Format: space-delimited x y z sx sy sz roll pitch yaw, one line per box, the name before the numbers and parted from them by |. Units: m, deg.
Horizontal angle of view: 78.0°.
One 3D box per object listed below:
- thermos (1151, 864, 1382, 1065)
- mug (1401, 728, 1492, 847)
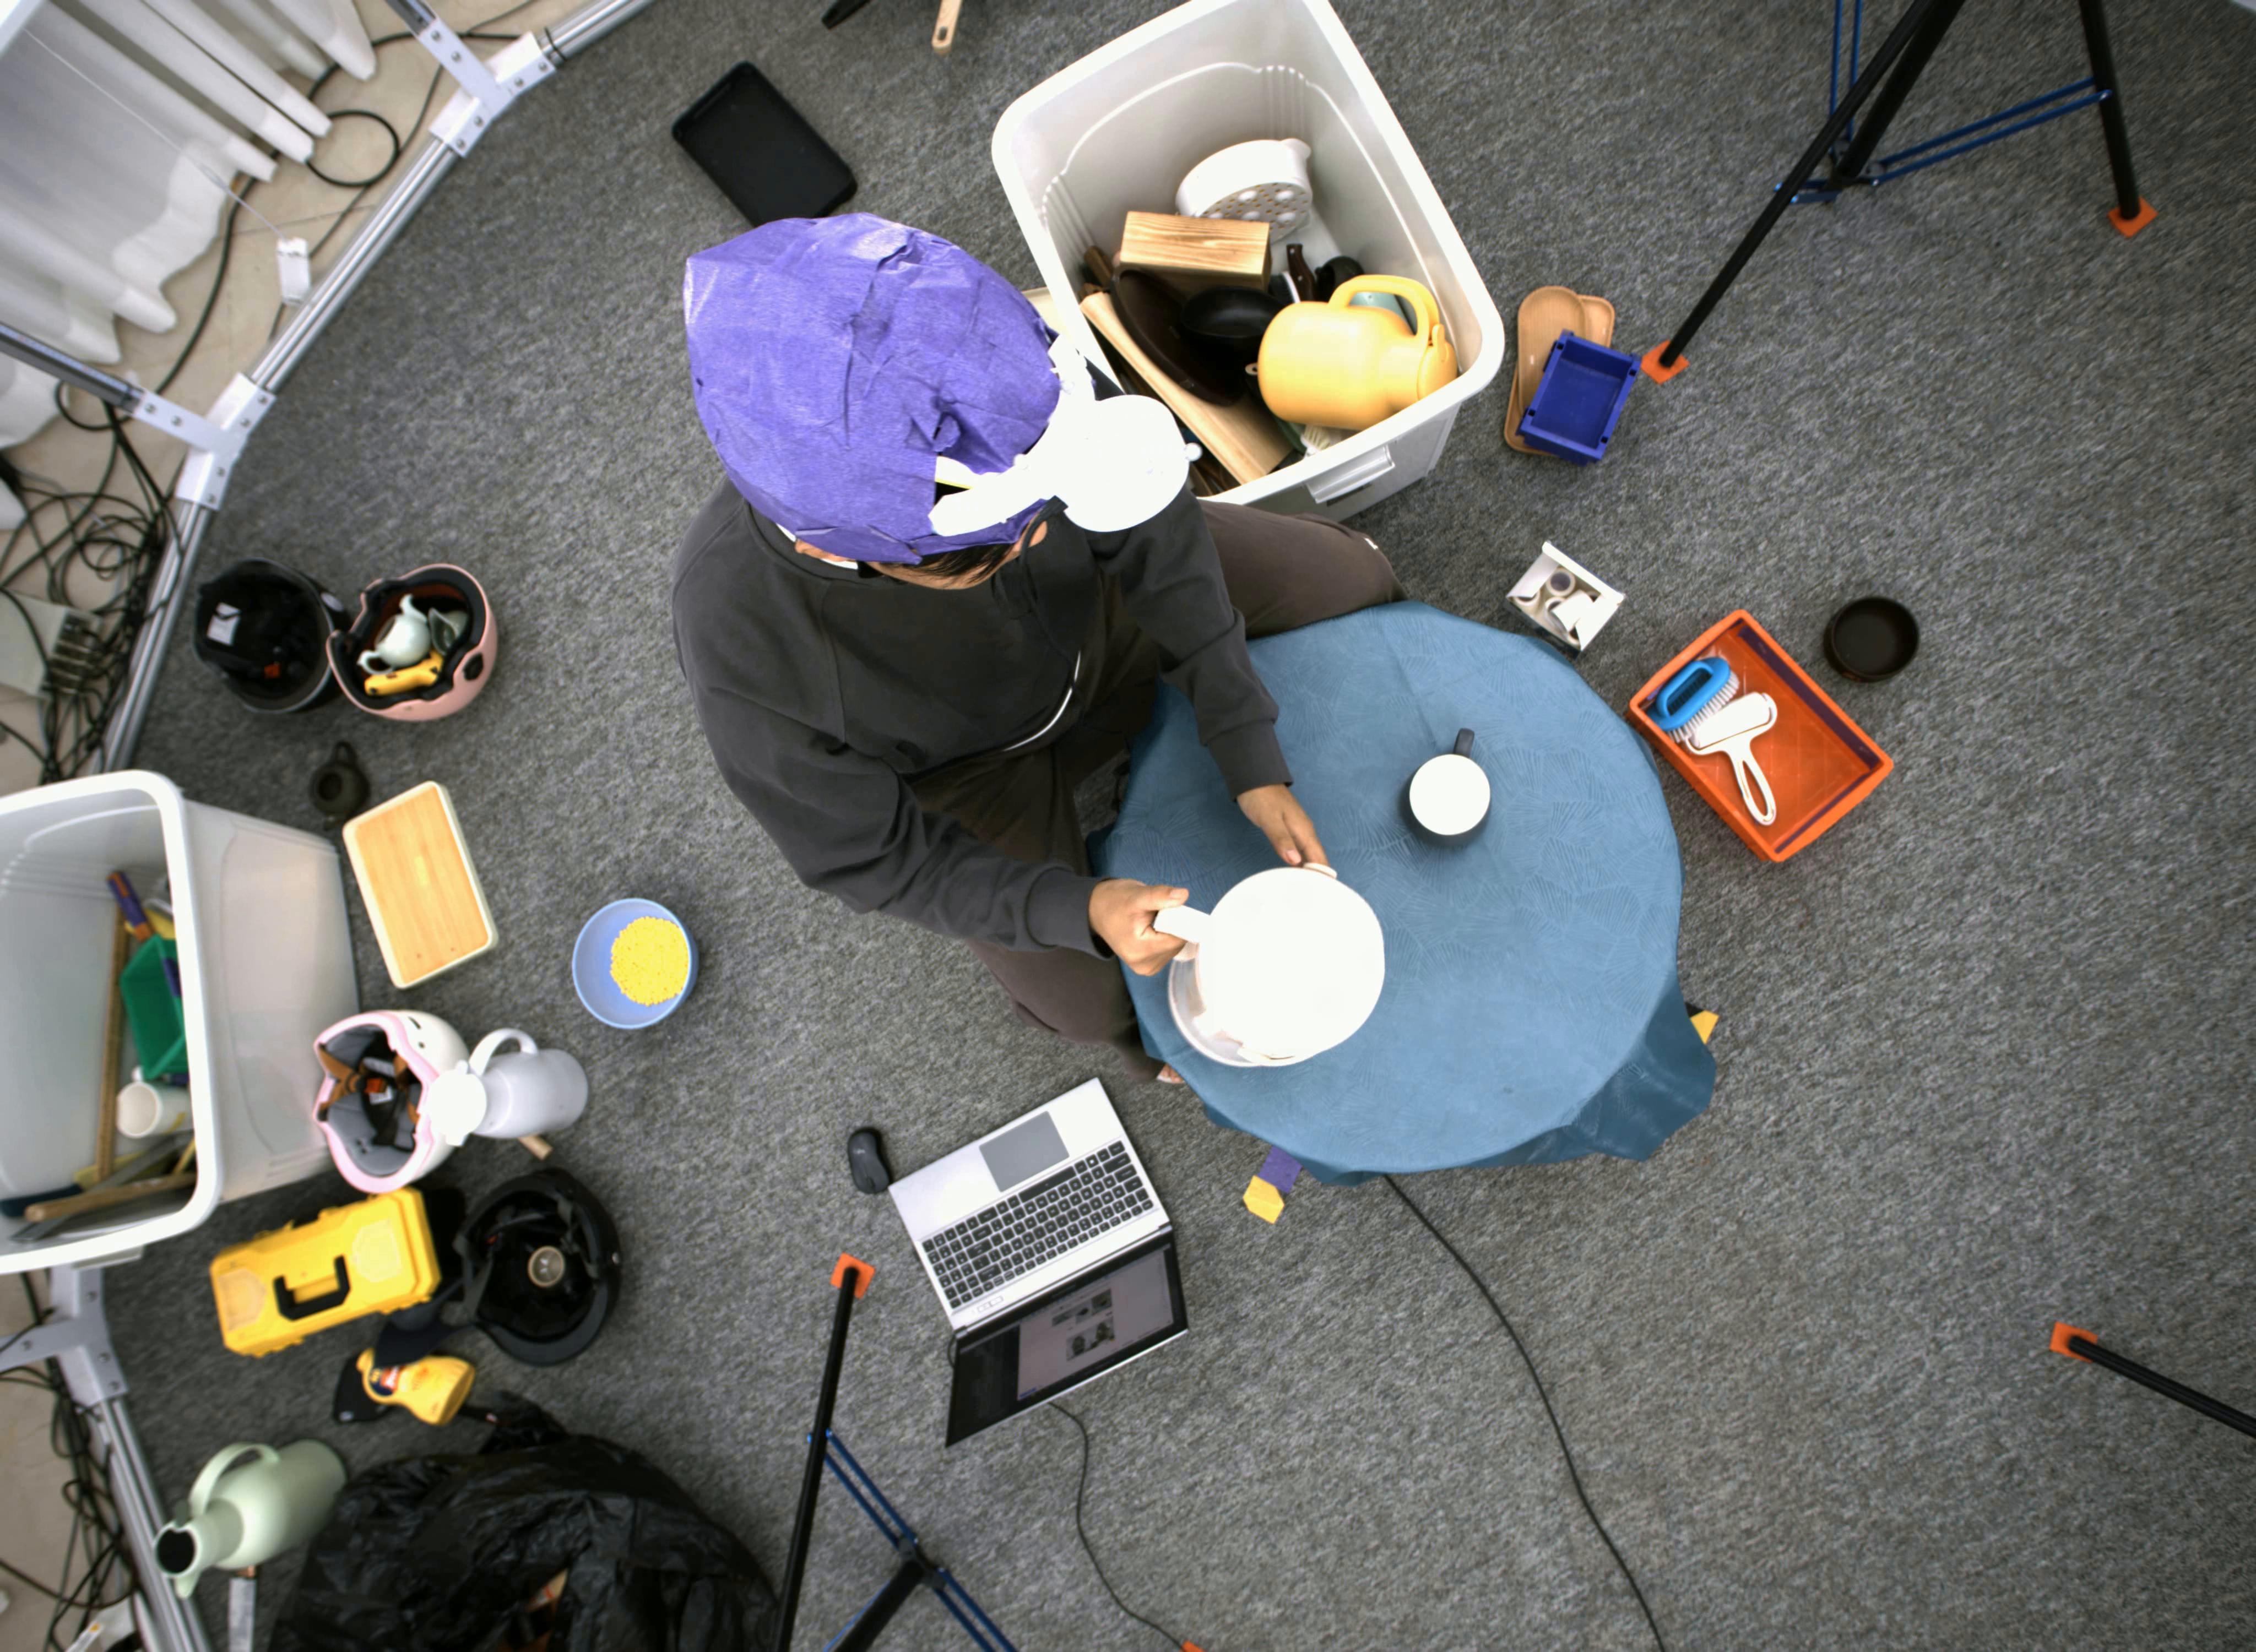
thermos | 0.118 0.124 1.250 0.207 0.409 0.174 20 80 1
mug | 0.332 -0.043 1.410 0.093 0.090 0.123 19 90 12
